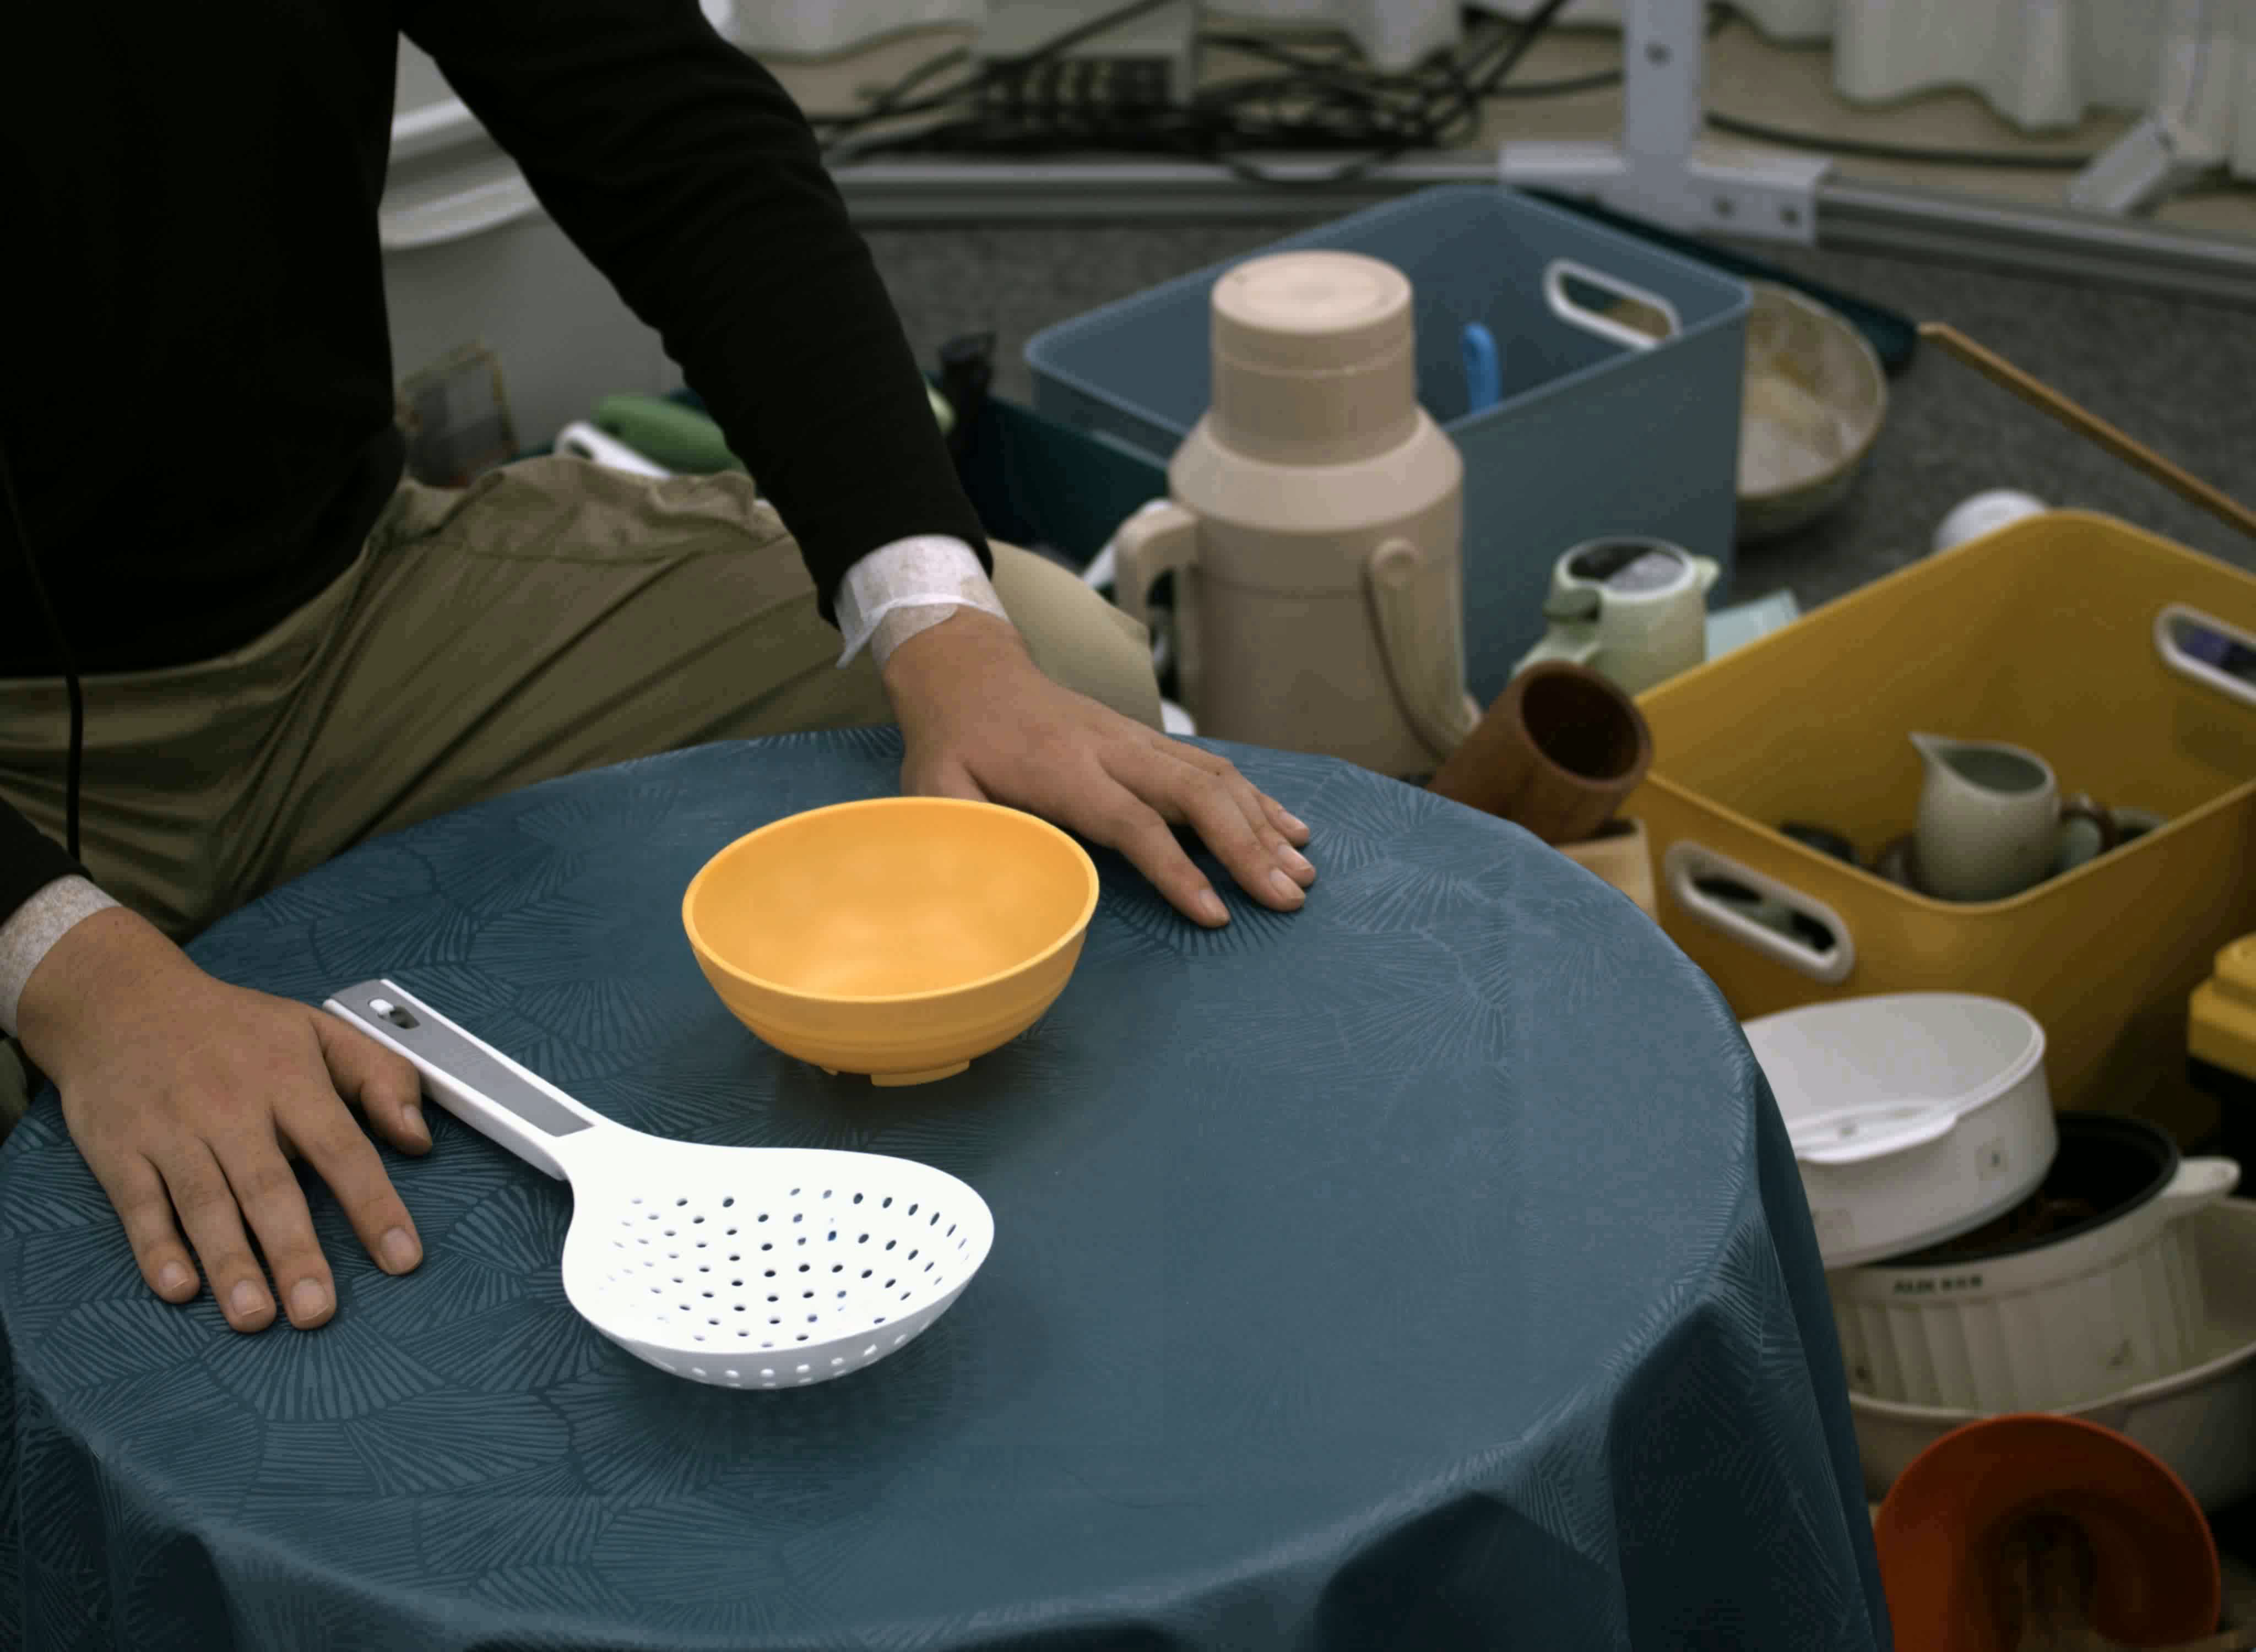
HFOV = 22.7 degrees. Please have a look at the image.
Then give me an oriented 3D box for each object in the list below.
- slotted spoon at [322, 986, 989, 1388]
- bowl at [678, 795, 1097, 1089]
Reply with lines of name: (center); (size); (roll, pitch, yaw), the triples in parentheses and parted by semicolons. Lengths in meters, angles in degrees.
slotted spoon: (-0.173, 0.111, 1.849); (0.137, 0.045, 0.350); (-20, 31, -31)
bowl: (-0.082, 0.050, 1.948); (0.144, 0.059, 0.147); (0, 28, 1)
